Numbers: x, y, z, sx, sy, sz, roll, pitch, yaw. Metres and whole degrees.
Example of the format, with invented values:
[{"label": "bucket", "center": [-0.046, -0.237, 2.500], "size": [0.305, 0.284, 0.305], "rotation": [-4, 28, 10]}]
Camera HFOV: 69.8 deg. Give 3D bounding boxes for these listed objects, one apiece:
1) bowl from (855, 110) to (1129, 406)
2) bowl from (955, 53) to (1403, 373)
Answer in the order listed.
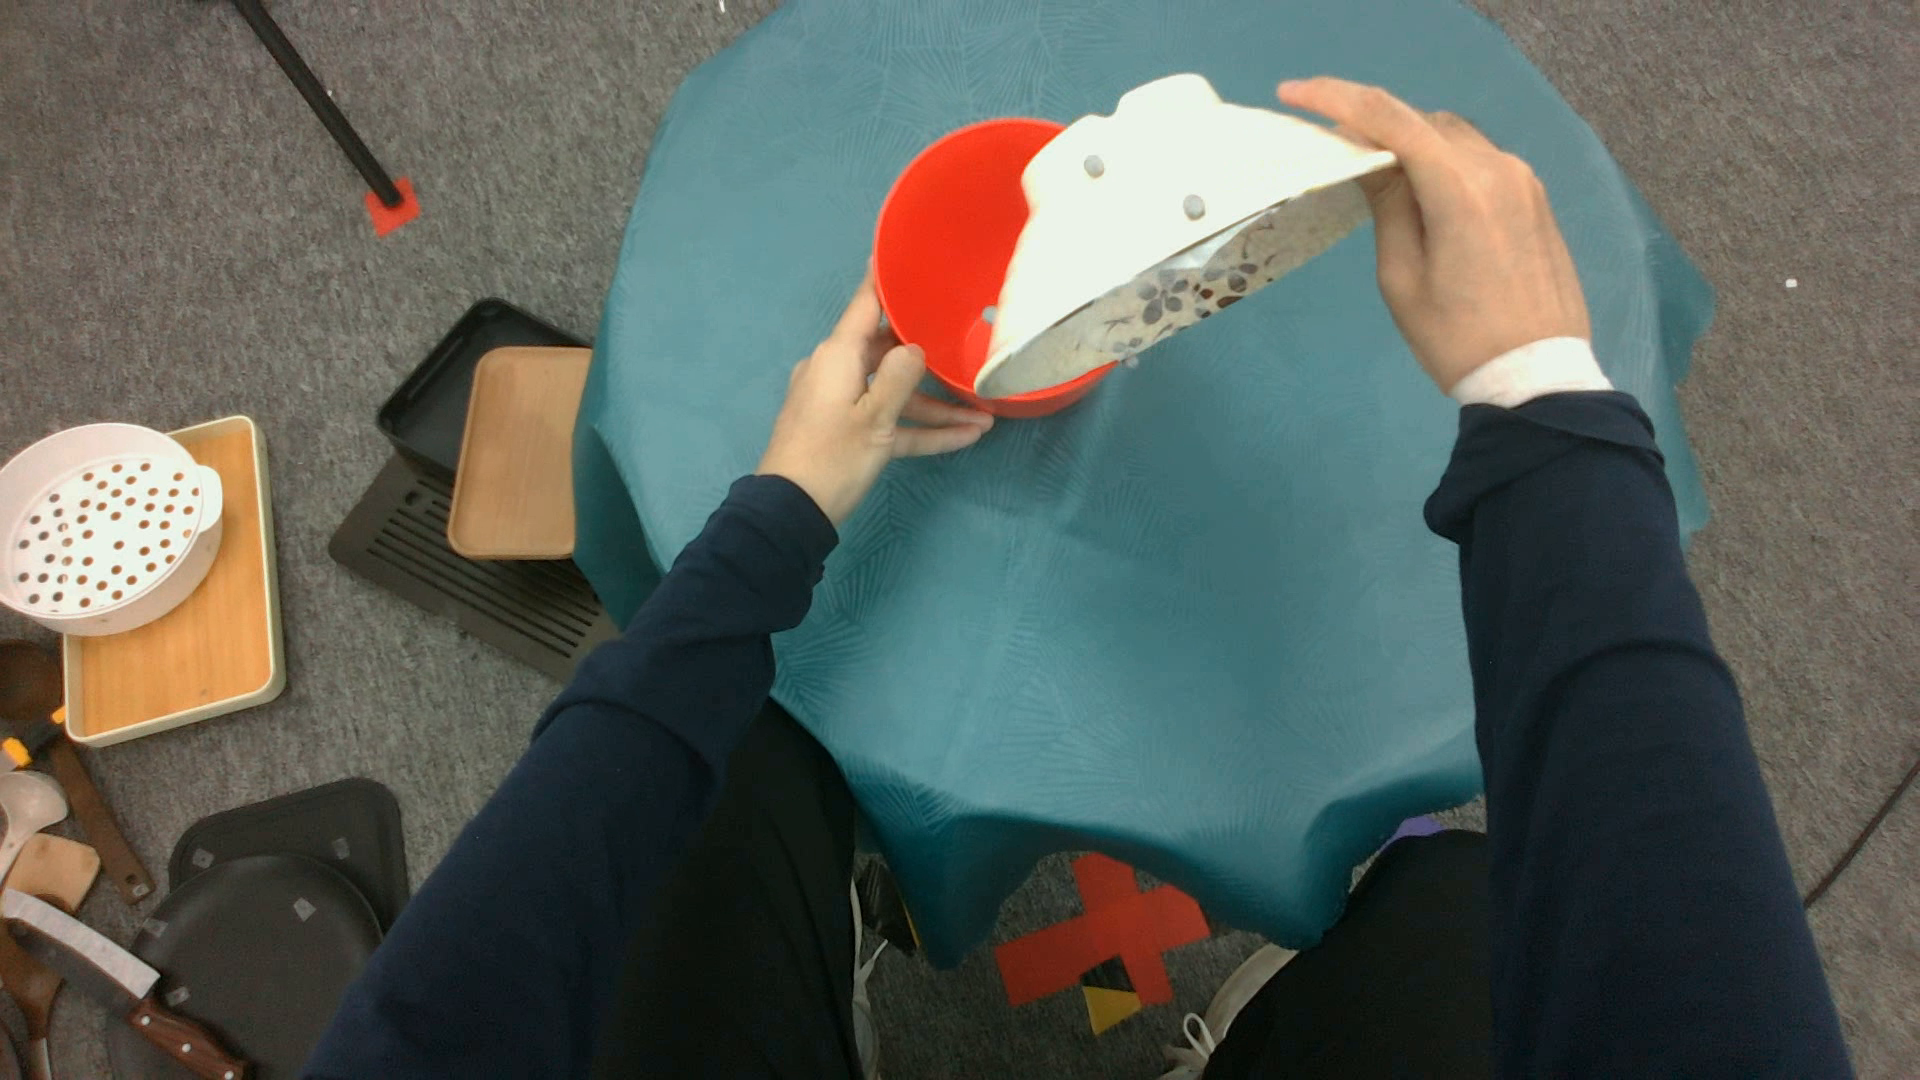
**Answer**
[{"label": "bowl", "center": [0.022, -0.137, 0.738], "size": [0.148, 0.104, 0.148], "rotation": [0, 73, 1]}, {"label": "bowl", "center": [0.076, -0.149, 0.587], "size": [0.204, 0.203, 0.078], "rotation": [-25, 89, -8]}]
